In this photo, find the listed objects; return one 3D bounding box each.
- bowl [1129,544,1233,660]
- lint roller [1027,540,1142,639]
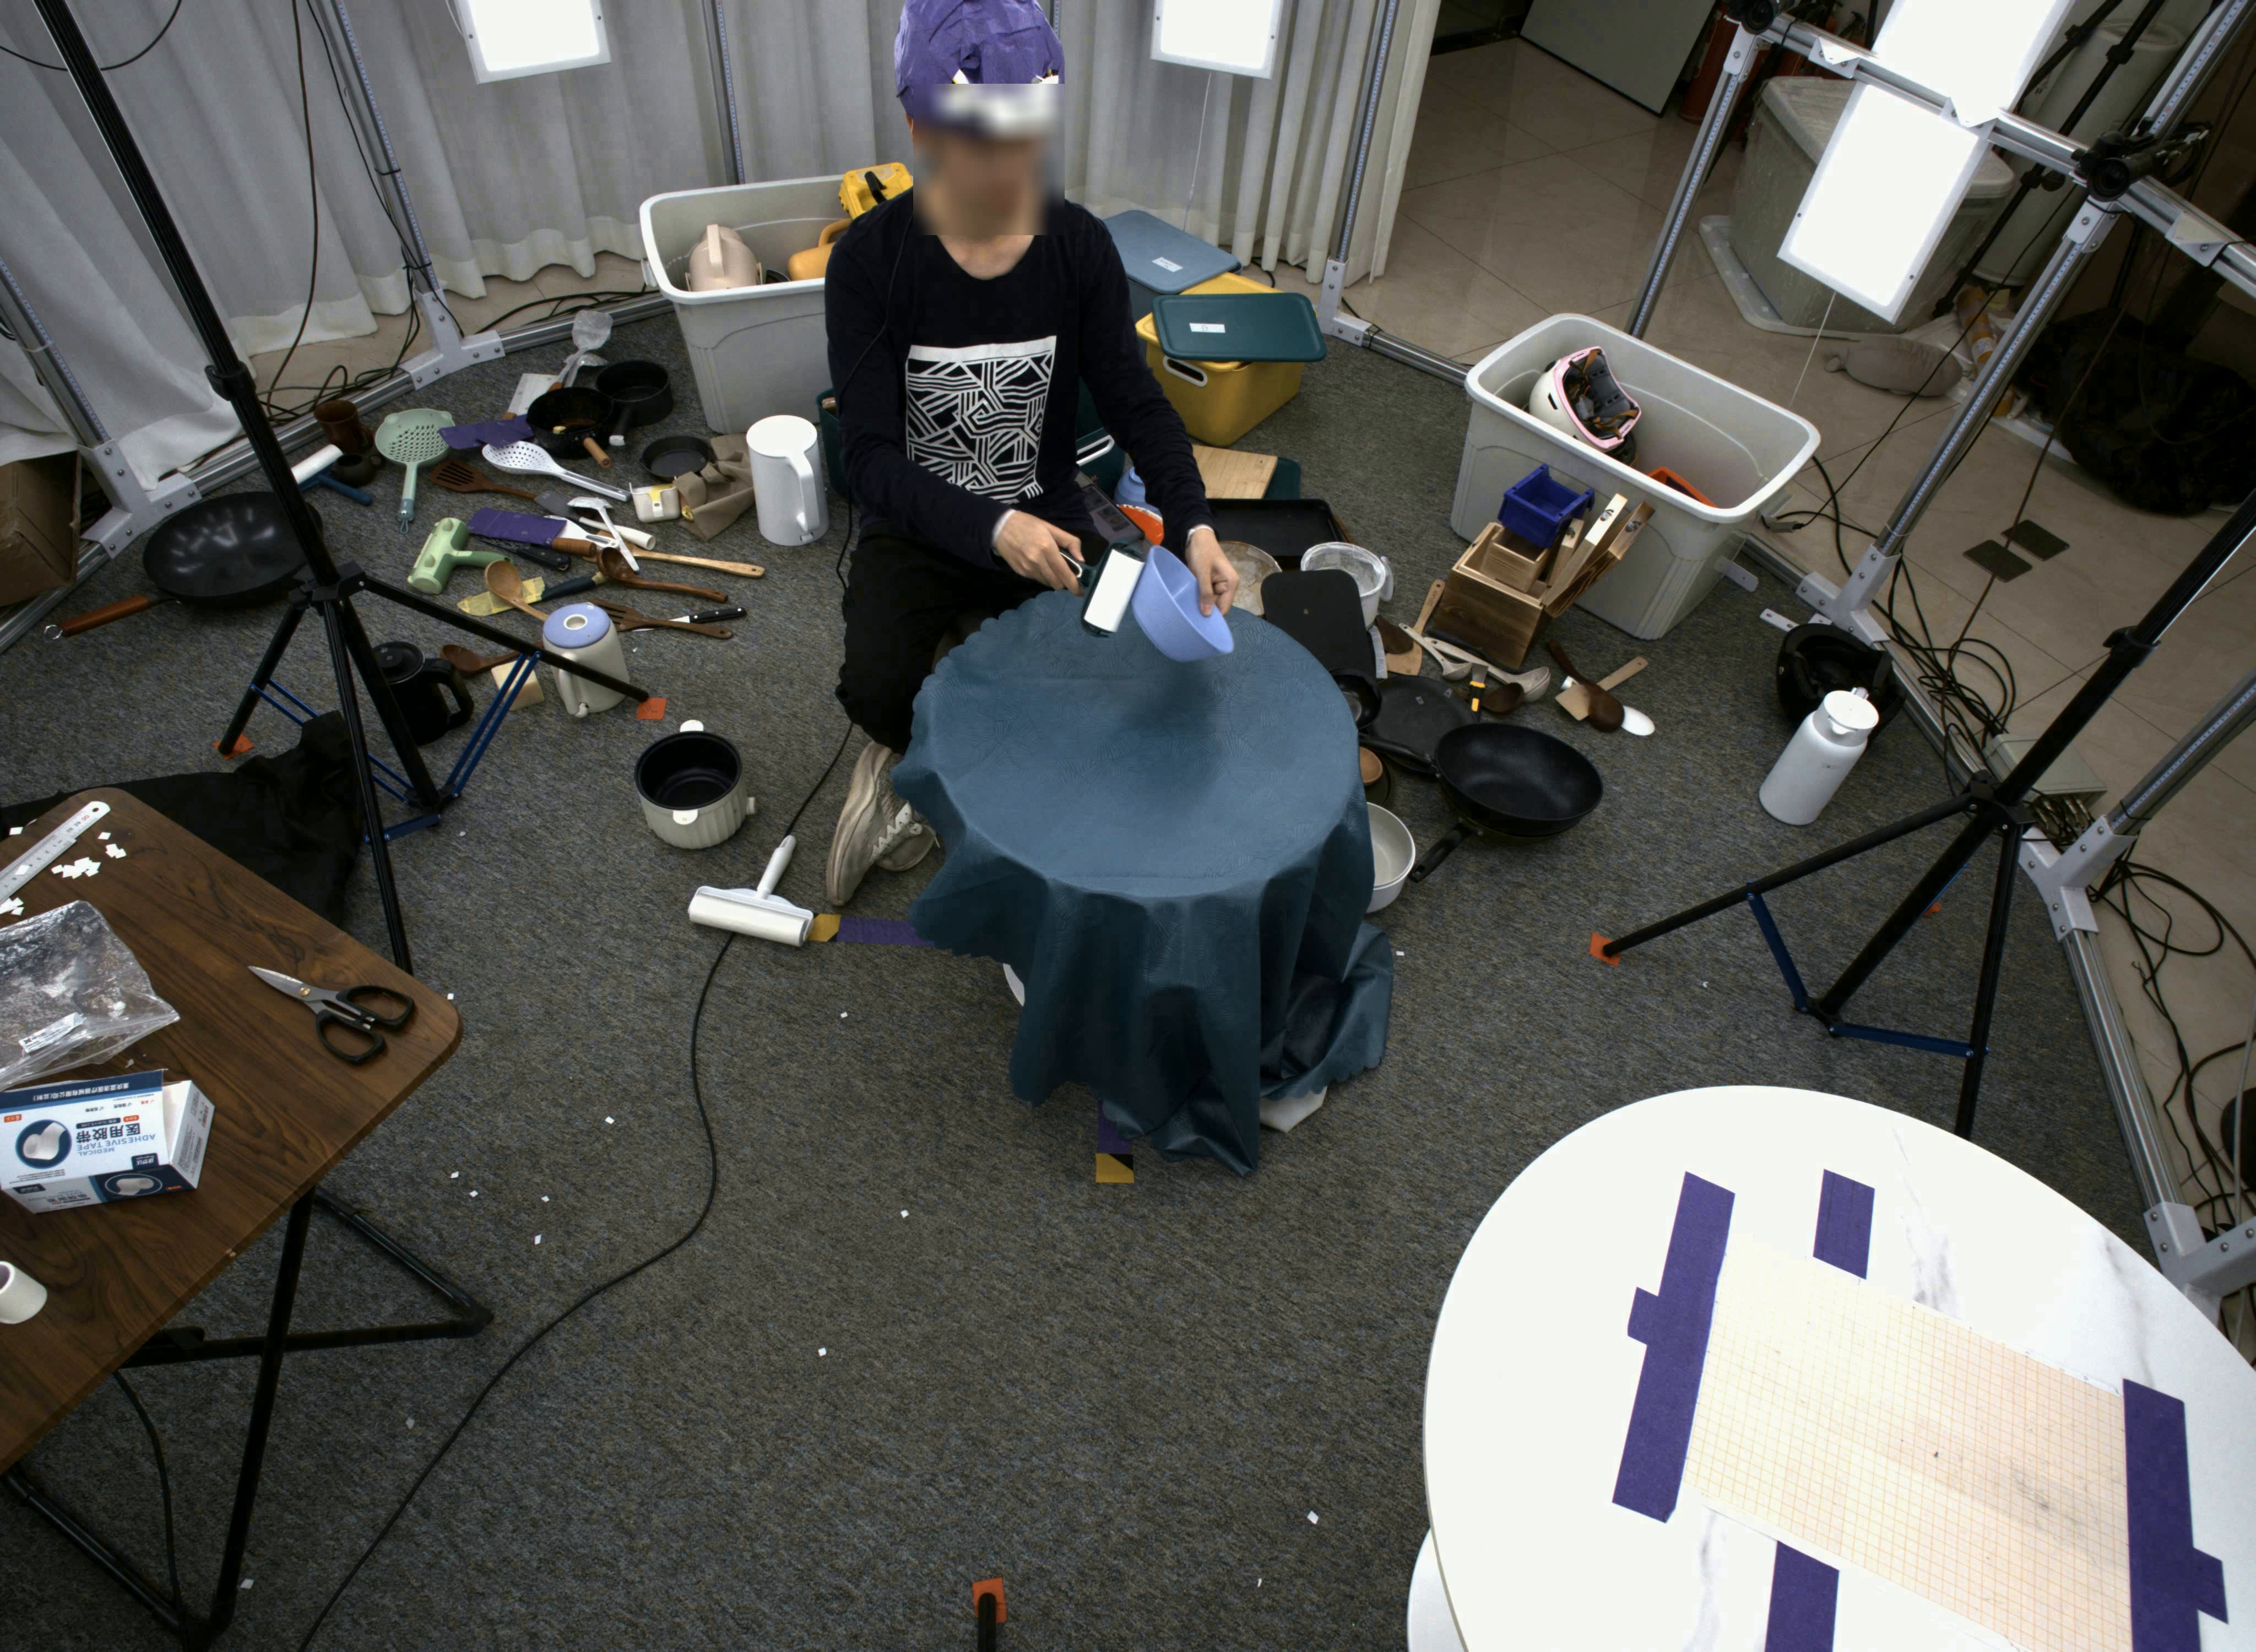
[{"bbox_3d":[0.062,-0.290,1.731,0.070,0.173,0.180,-35,48,21],"label":"bowl"},{"bbox_3d":[-0.073,-0.340,1.716,0.182,0.133,0.048,29,16,23],"label":"lint roller"}]
